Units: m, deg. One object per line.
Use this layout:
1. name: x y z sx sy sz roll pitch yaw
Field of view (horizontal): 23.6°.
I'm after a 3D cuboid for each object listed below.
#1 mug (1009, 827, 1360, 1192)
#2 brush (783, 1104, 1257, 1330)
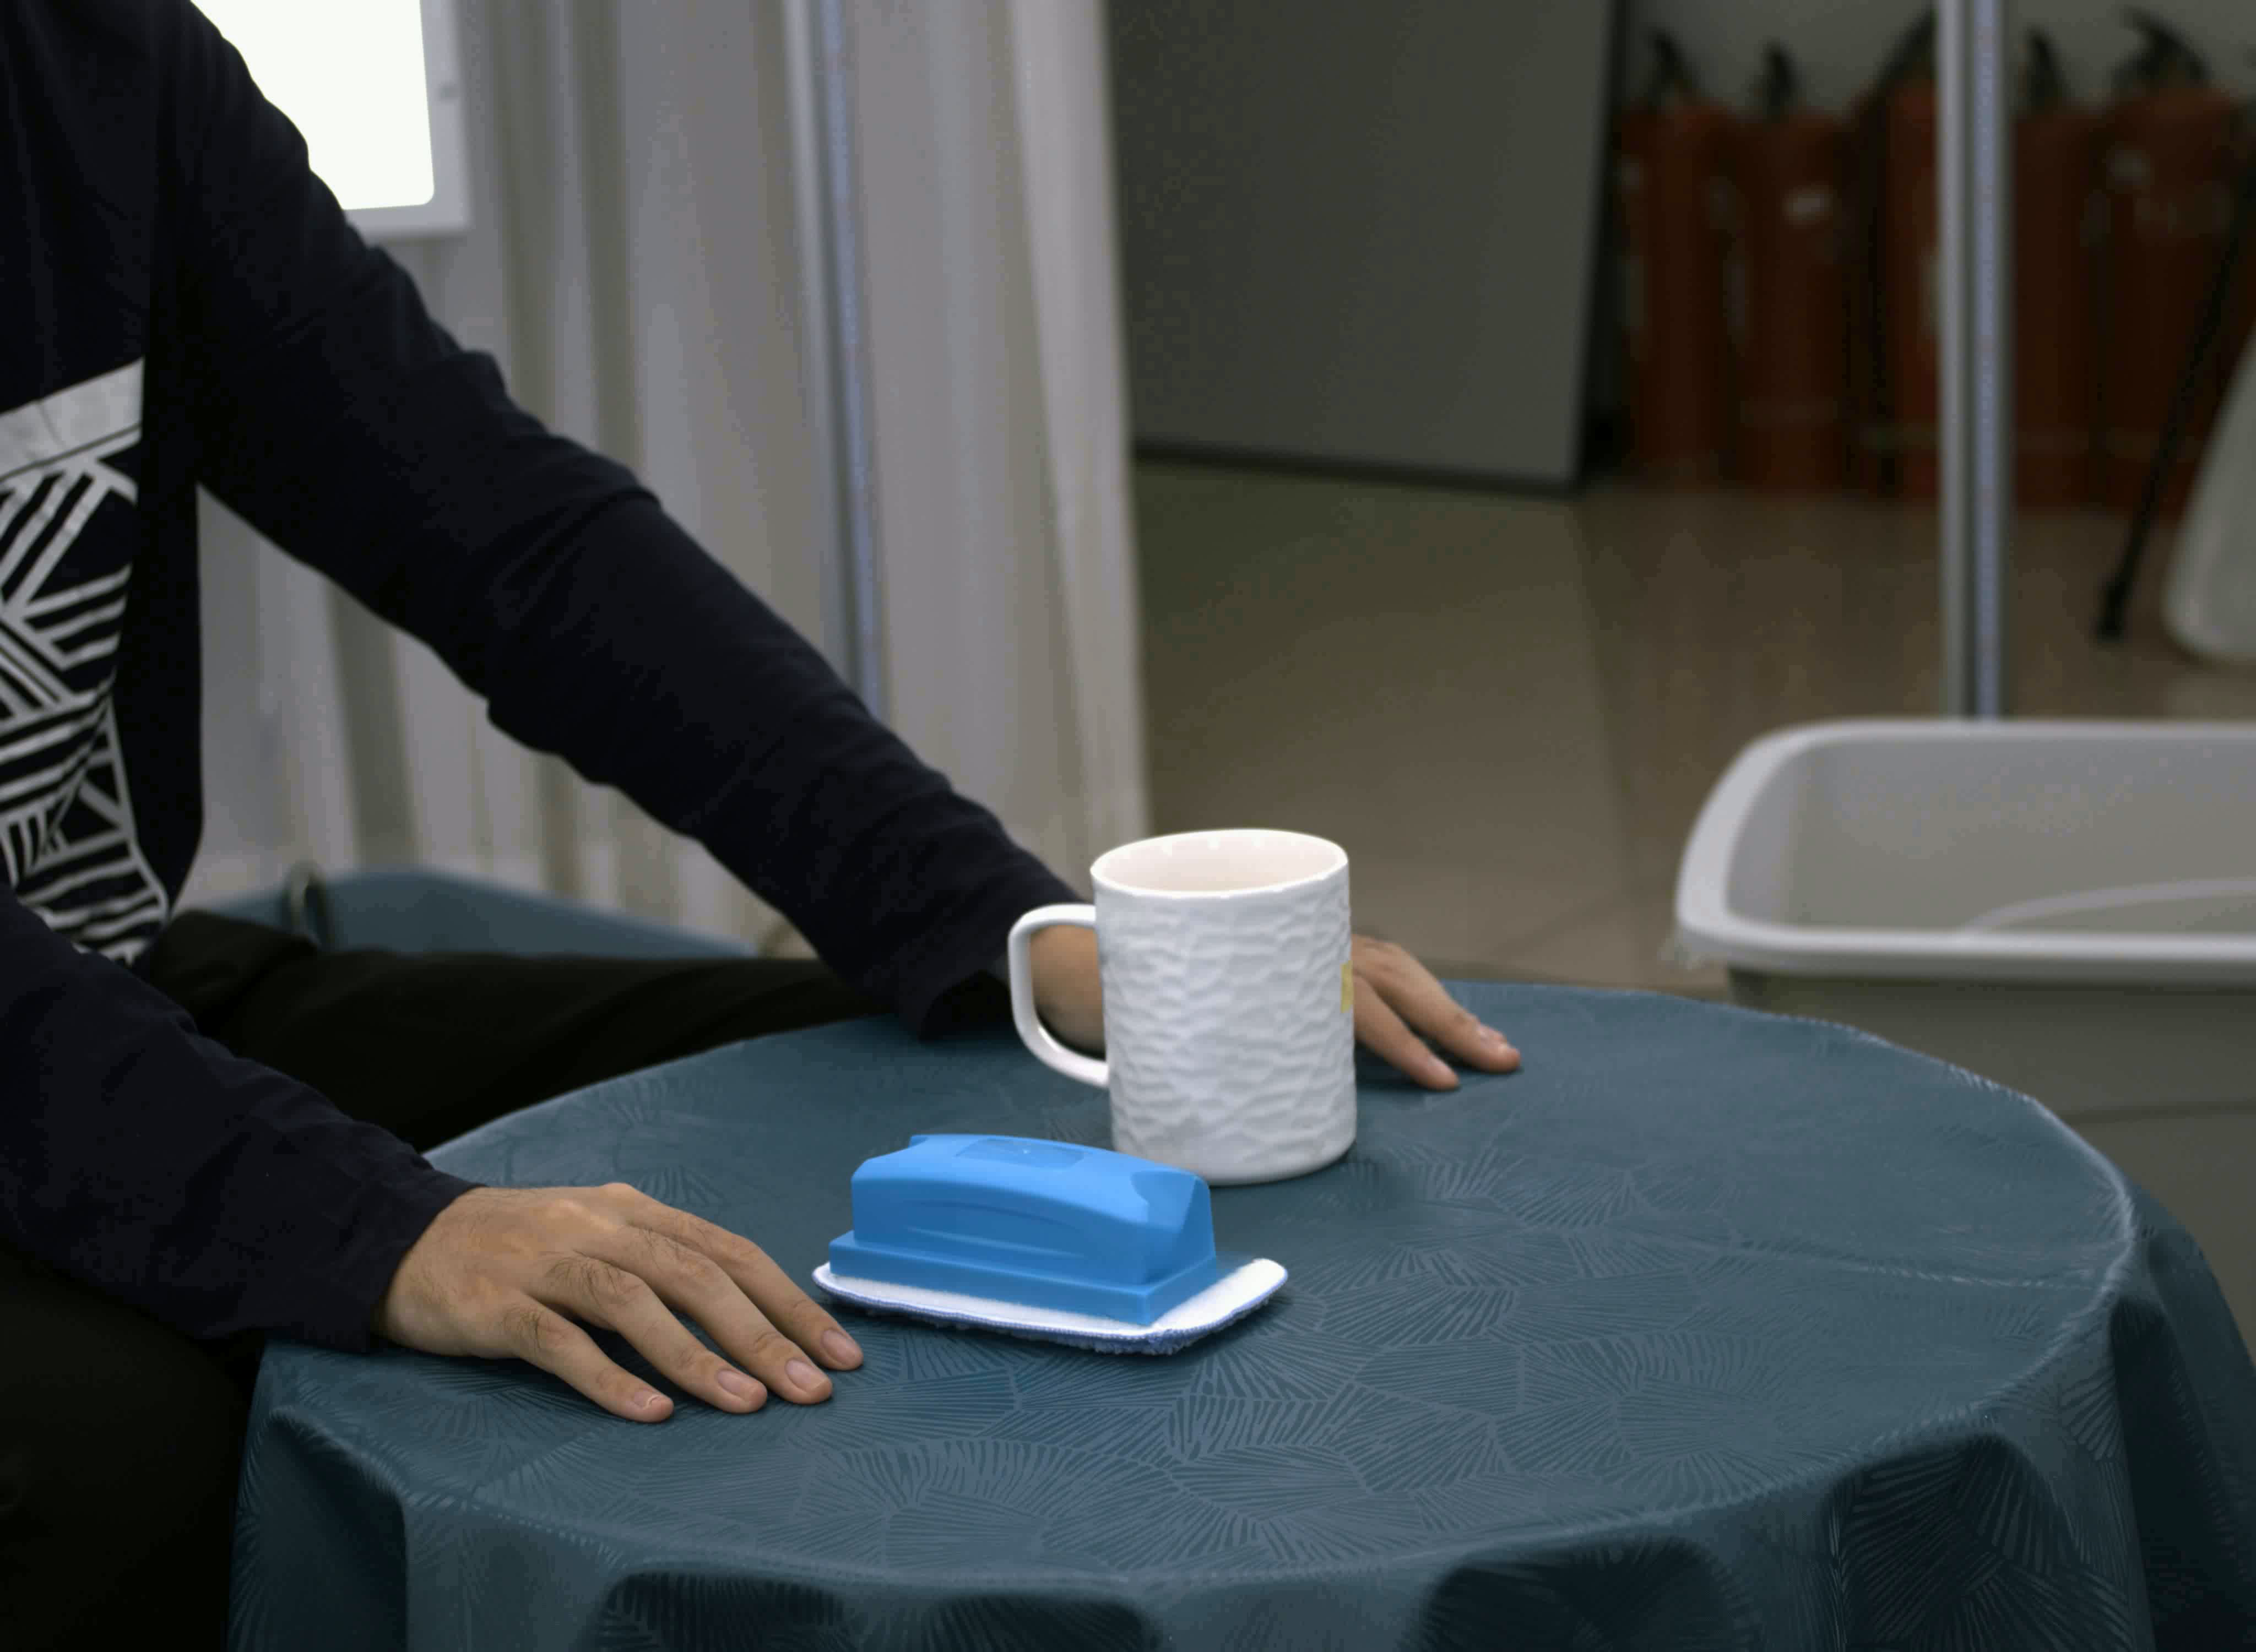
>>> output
1. mug: 0.018 0.061 1.800 0.118 0.103 0.084 -1 15 15
2. brush: -0.033 0.119 1.666 0.145 0.056 0.082 9 15 36
